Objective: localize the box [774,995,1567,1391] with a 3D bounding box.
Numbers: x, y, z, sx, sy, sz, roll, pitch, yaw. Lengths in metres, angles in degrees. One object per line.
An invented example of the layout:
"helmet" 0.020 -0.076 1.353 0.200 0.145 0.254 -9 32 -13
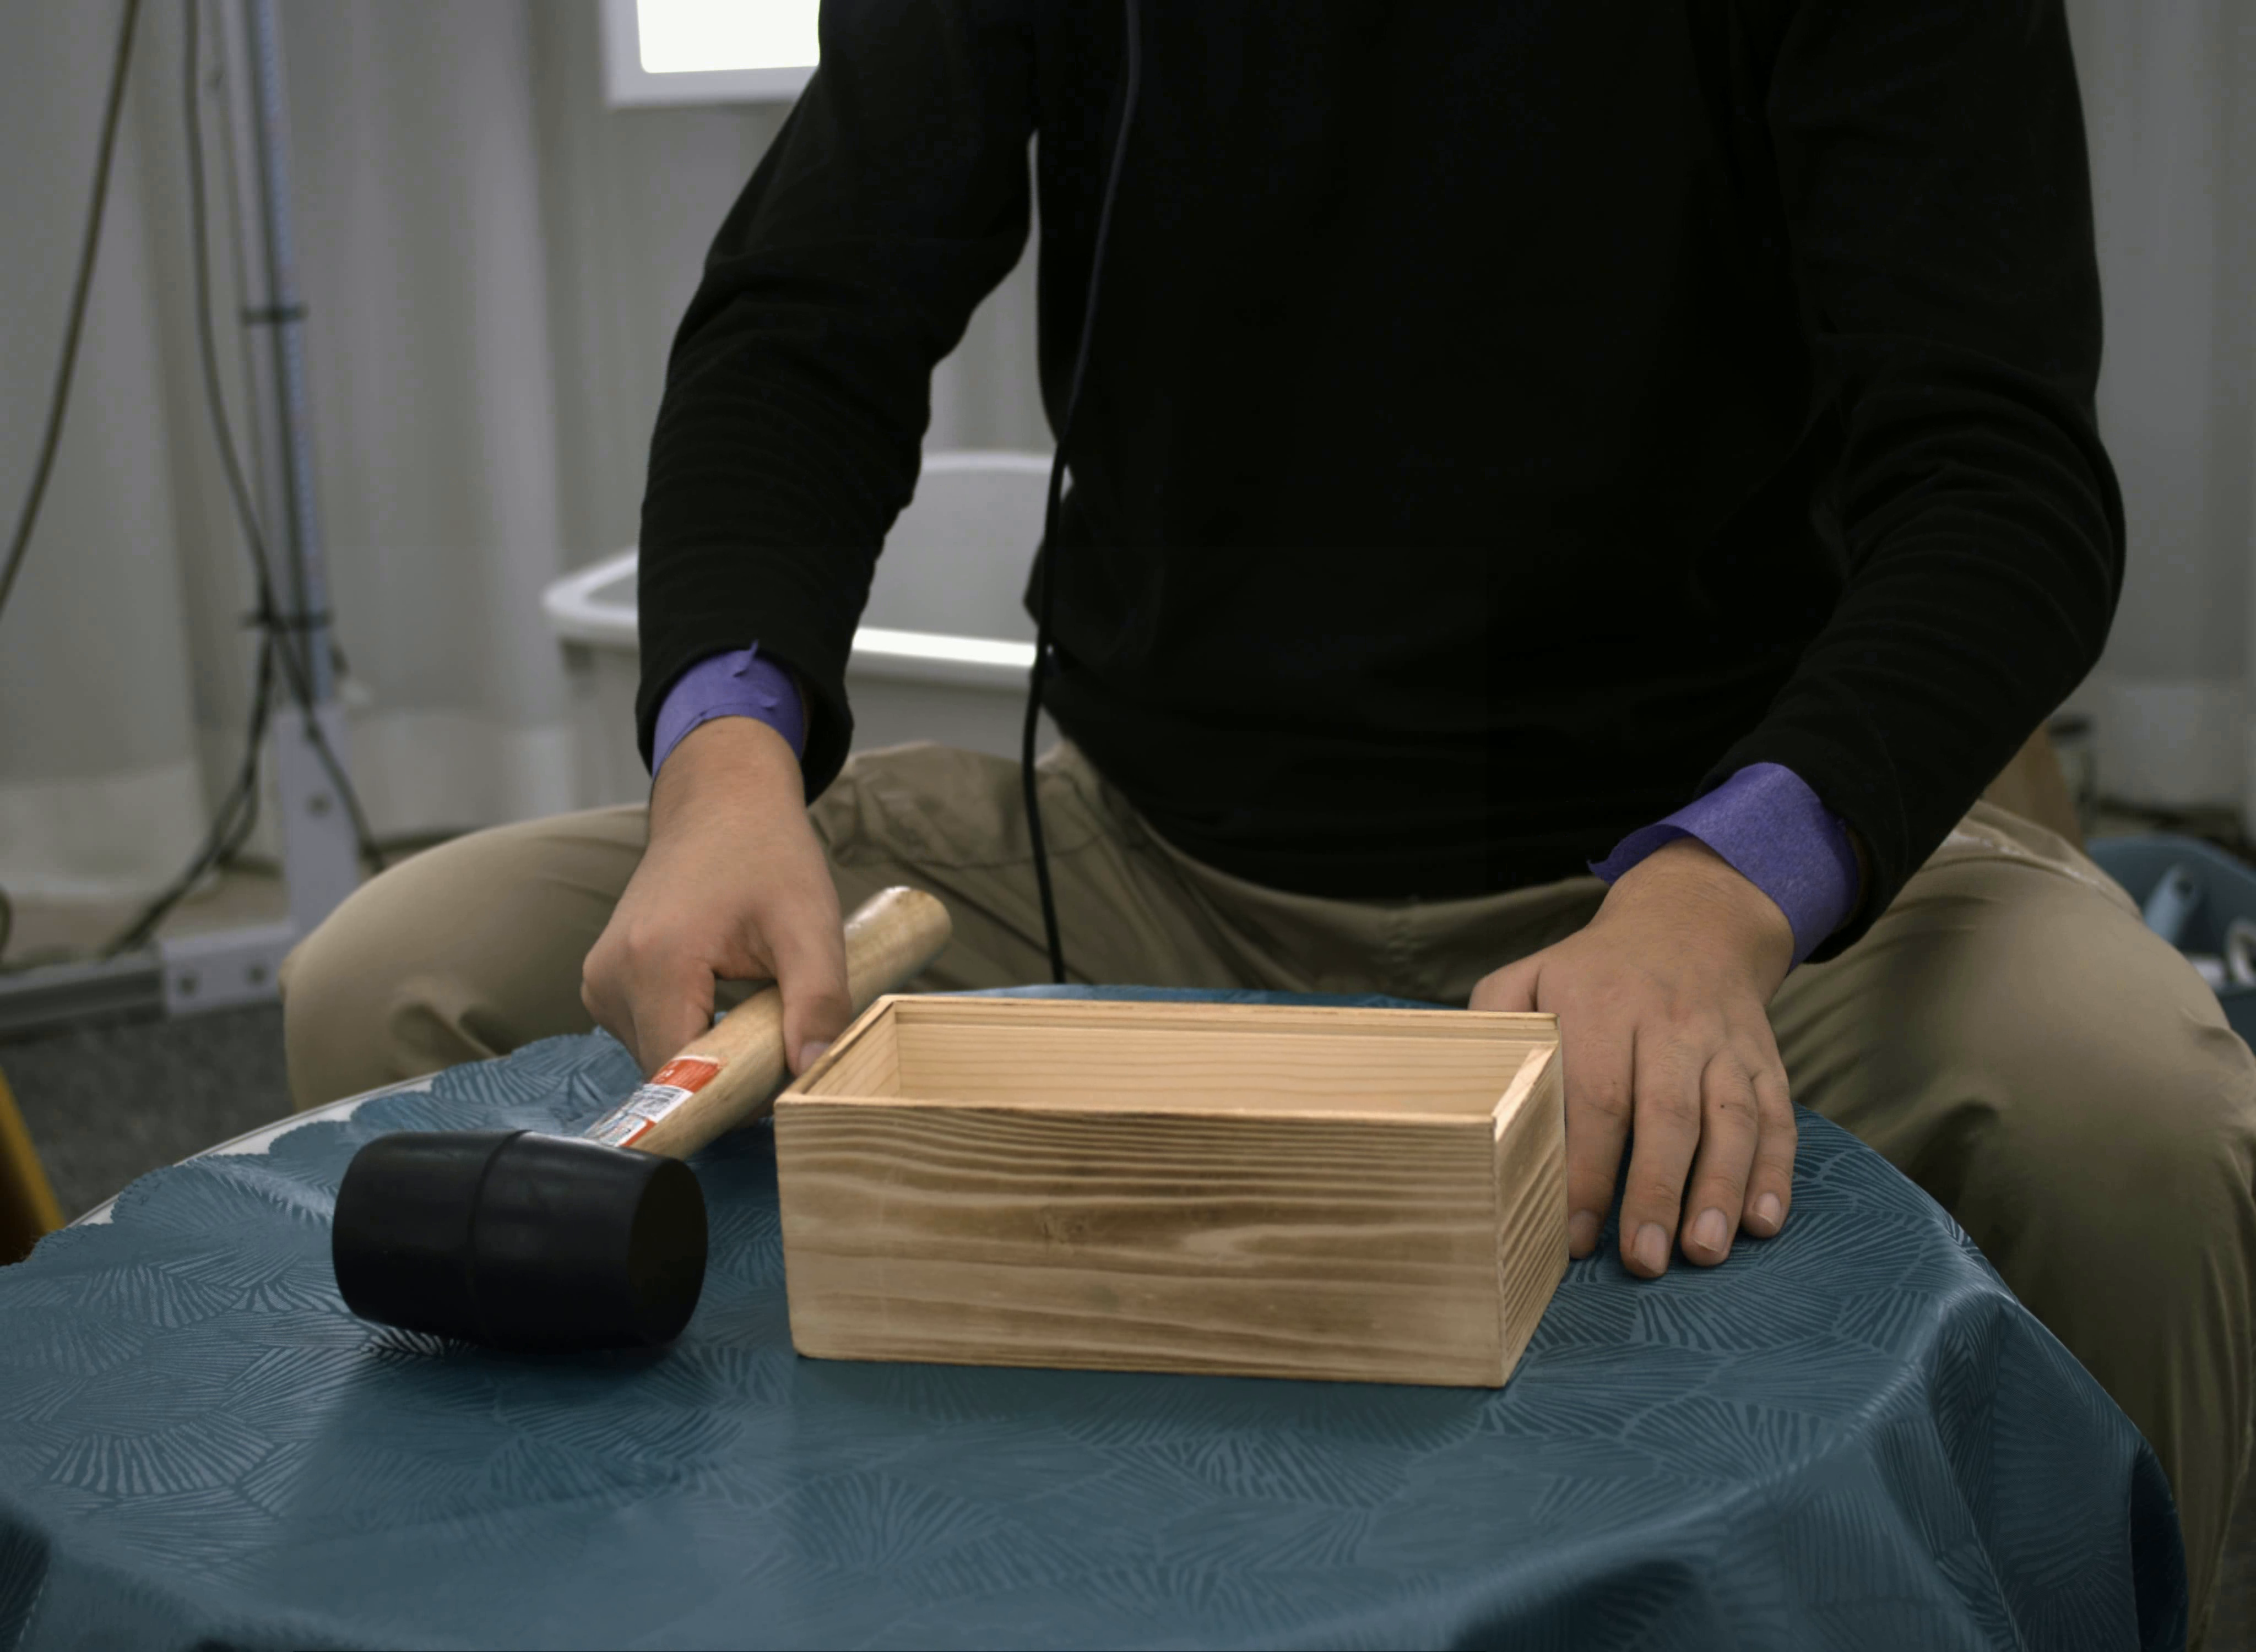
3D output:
"box" 0.014 0.105 1.595 0.211 0.080 0.108 1 14 15

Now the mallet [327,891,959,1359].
"mallet" -0.132 0.075 1.721 0.102 0.064 0.340 7 22 19
